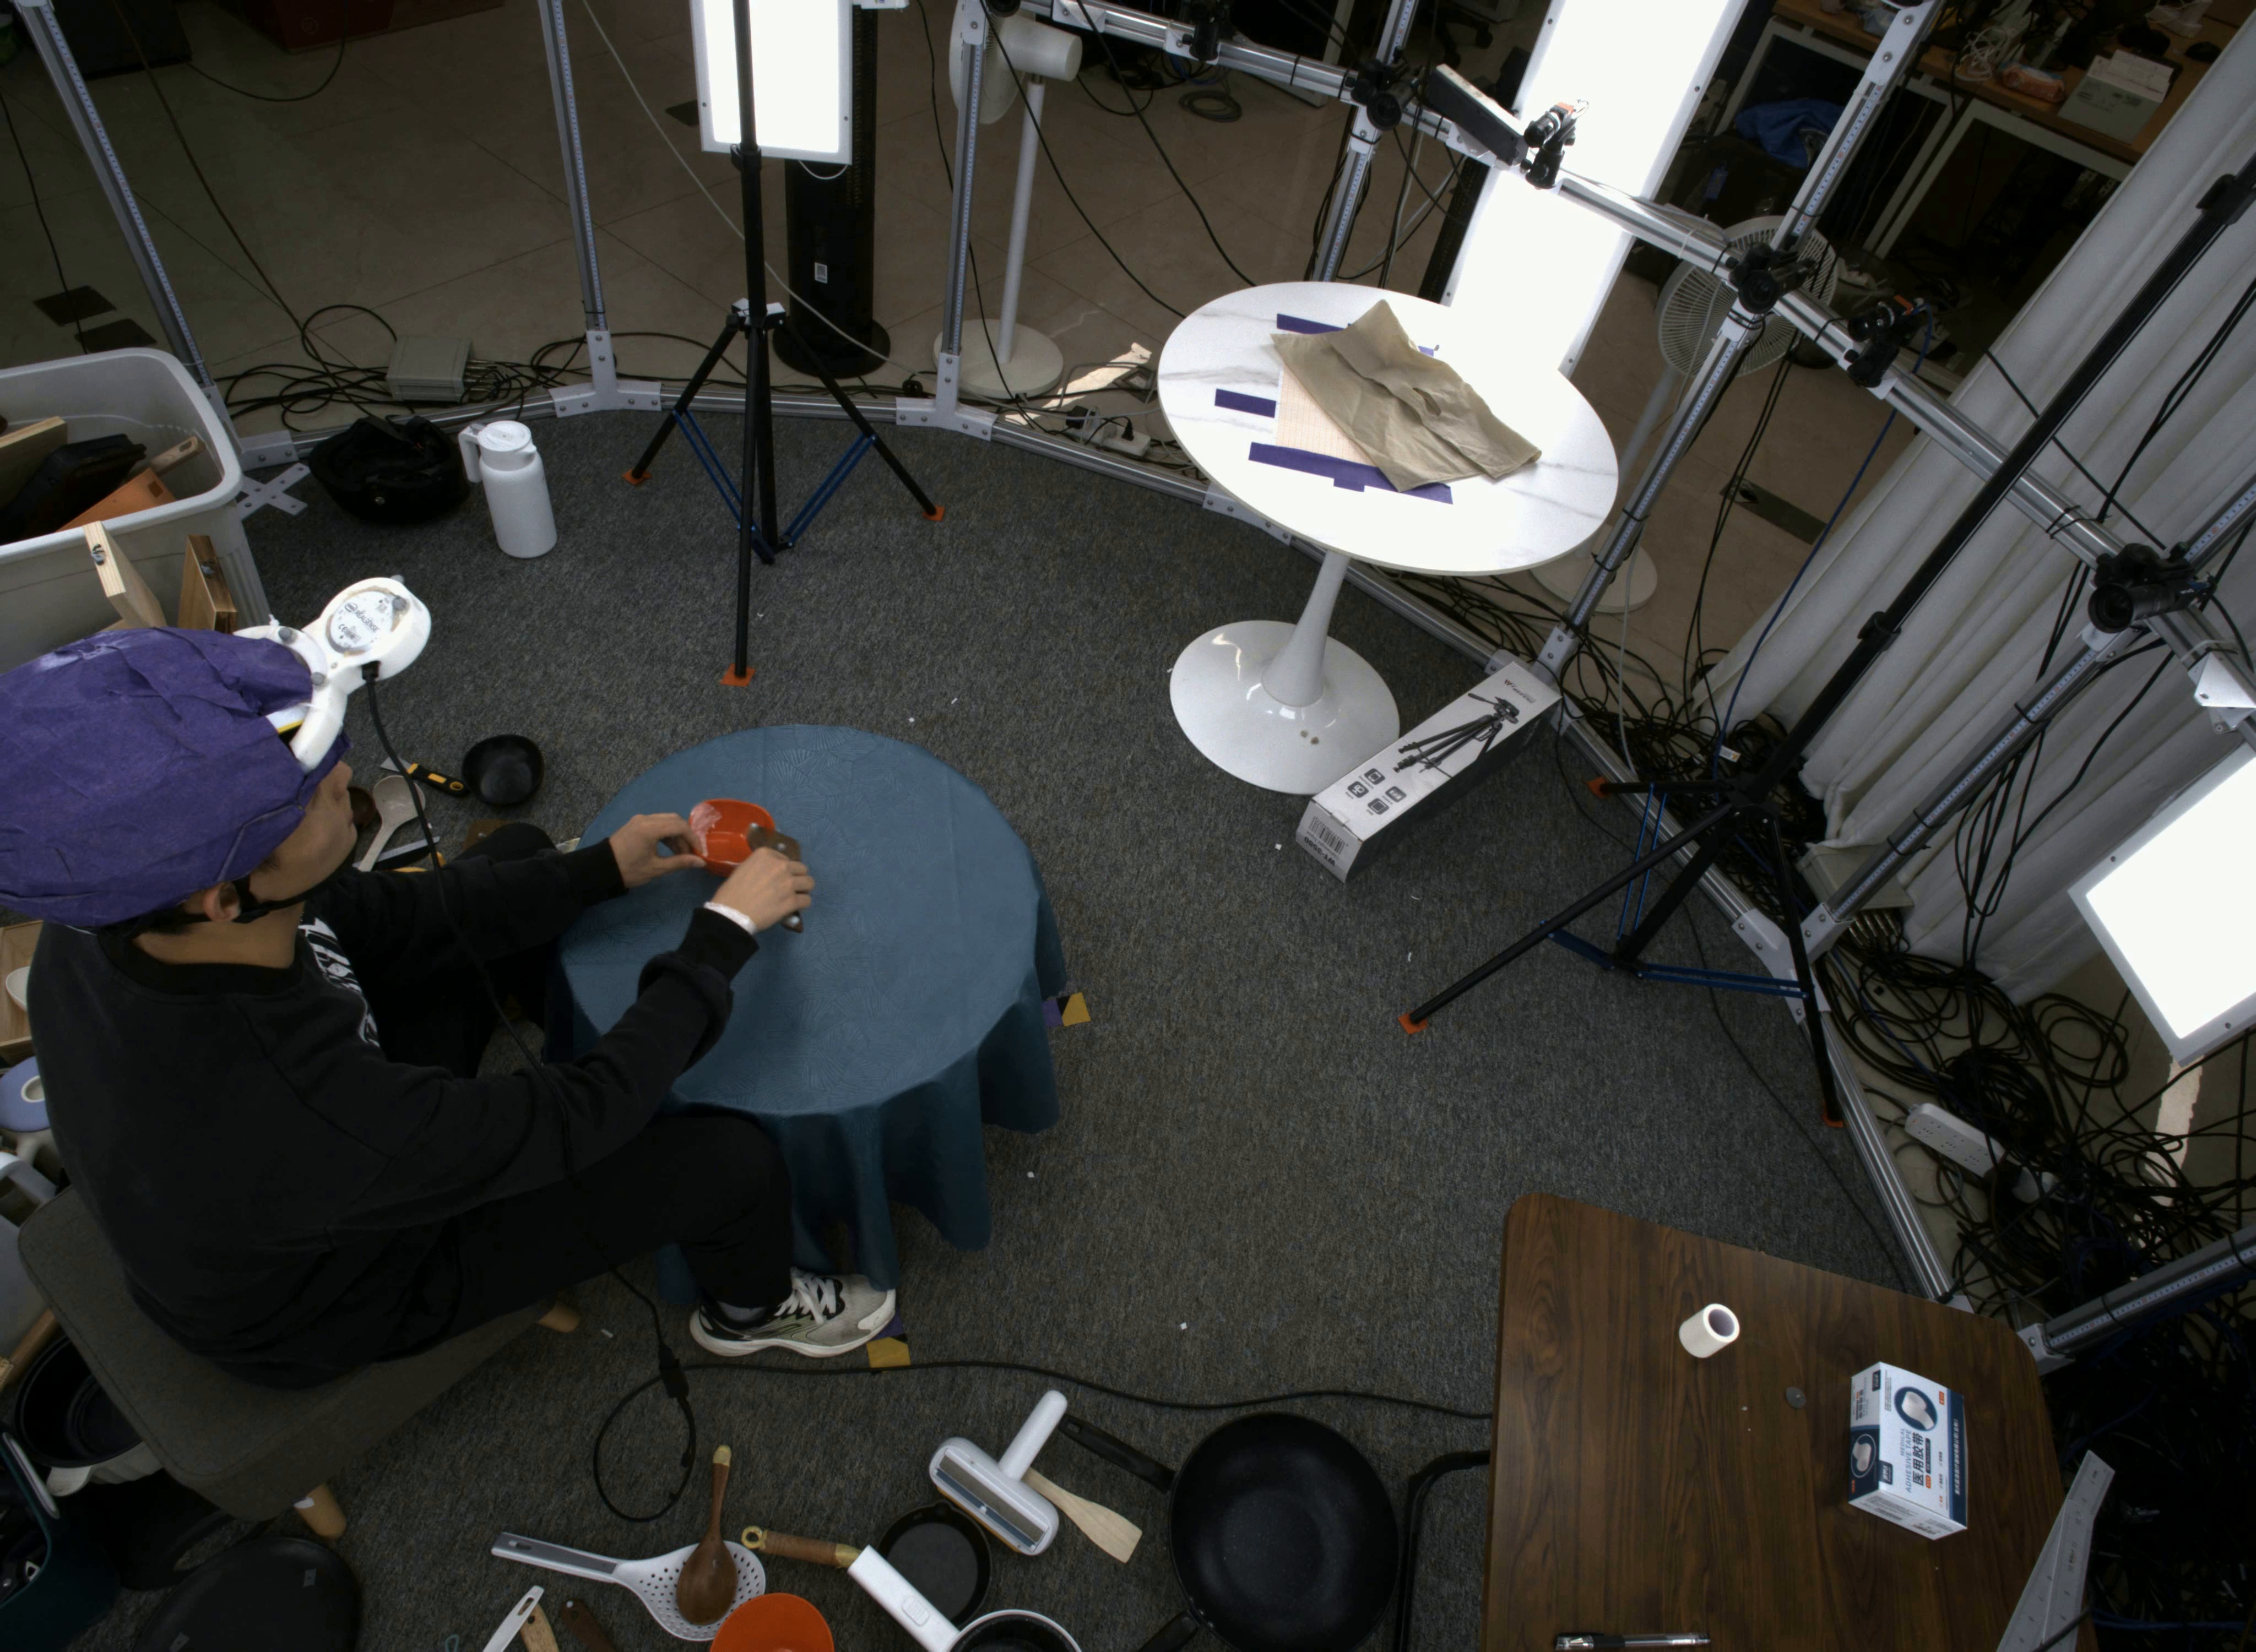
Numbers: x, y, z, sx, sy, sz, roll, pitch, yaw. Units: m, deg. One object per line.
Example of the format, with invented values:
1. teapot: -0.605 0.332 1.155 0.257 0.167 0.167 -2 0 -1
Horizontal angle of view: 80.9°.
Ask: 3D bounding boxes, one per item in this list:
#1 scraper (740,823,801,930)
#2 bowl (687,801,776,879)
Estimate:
1. scraper: -0.416 0.059 1.537 0.078 0.011 0.204 25 19 -35
2. bowl: -0.507 0.024 1.641 0.120 0.052 0.116 18 41 -15
